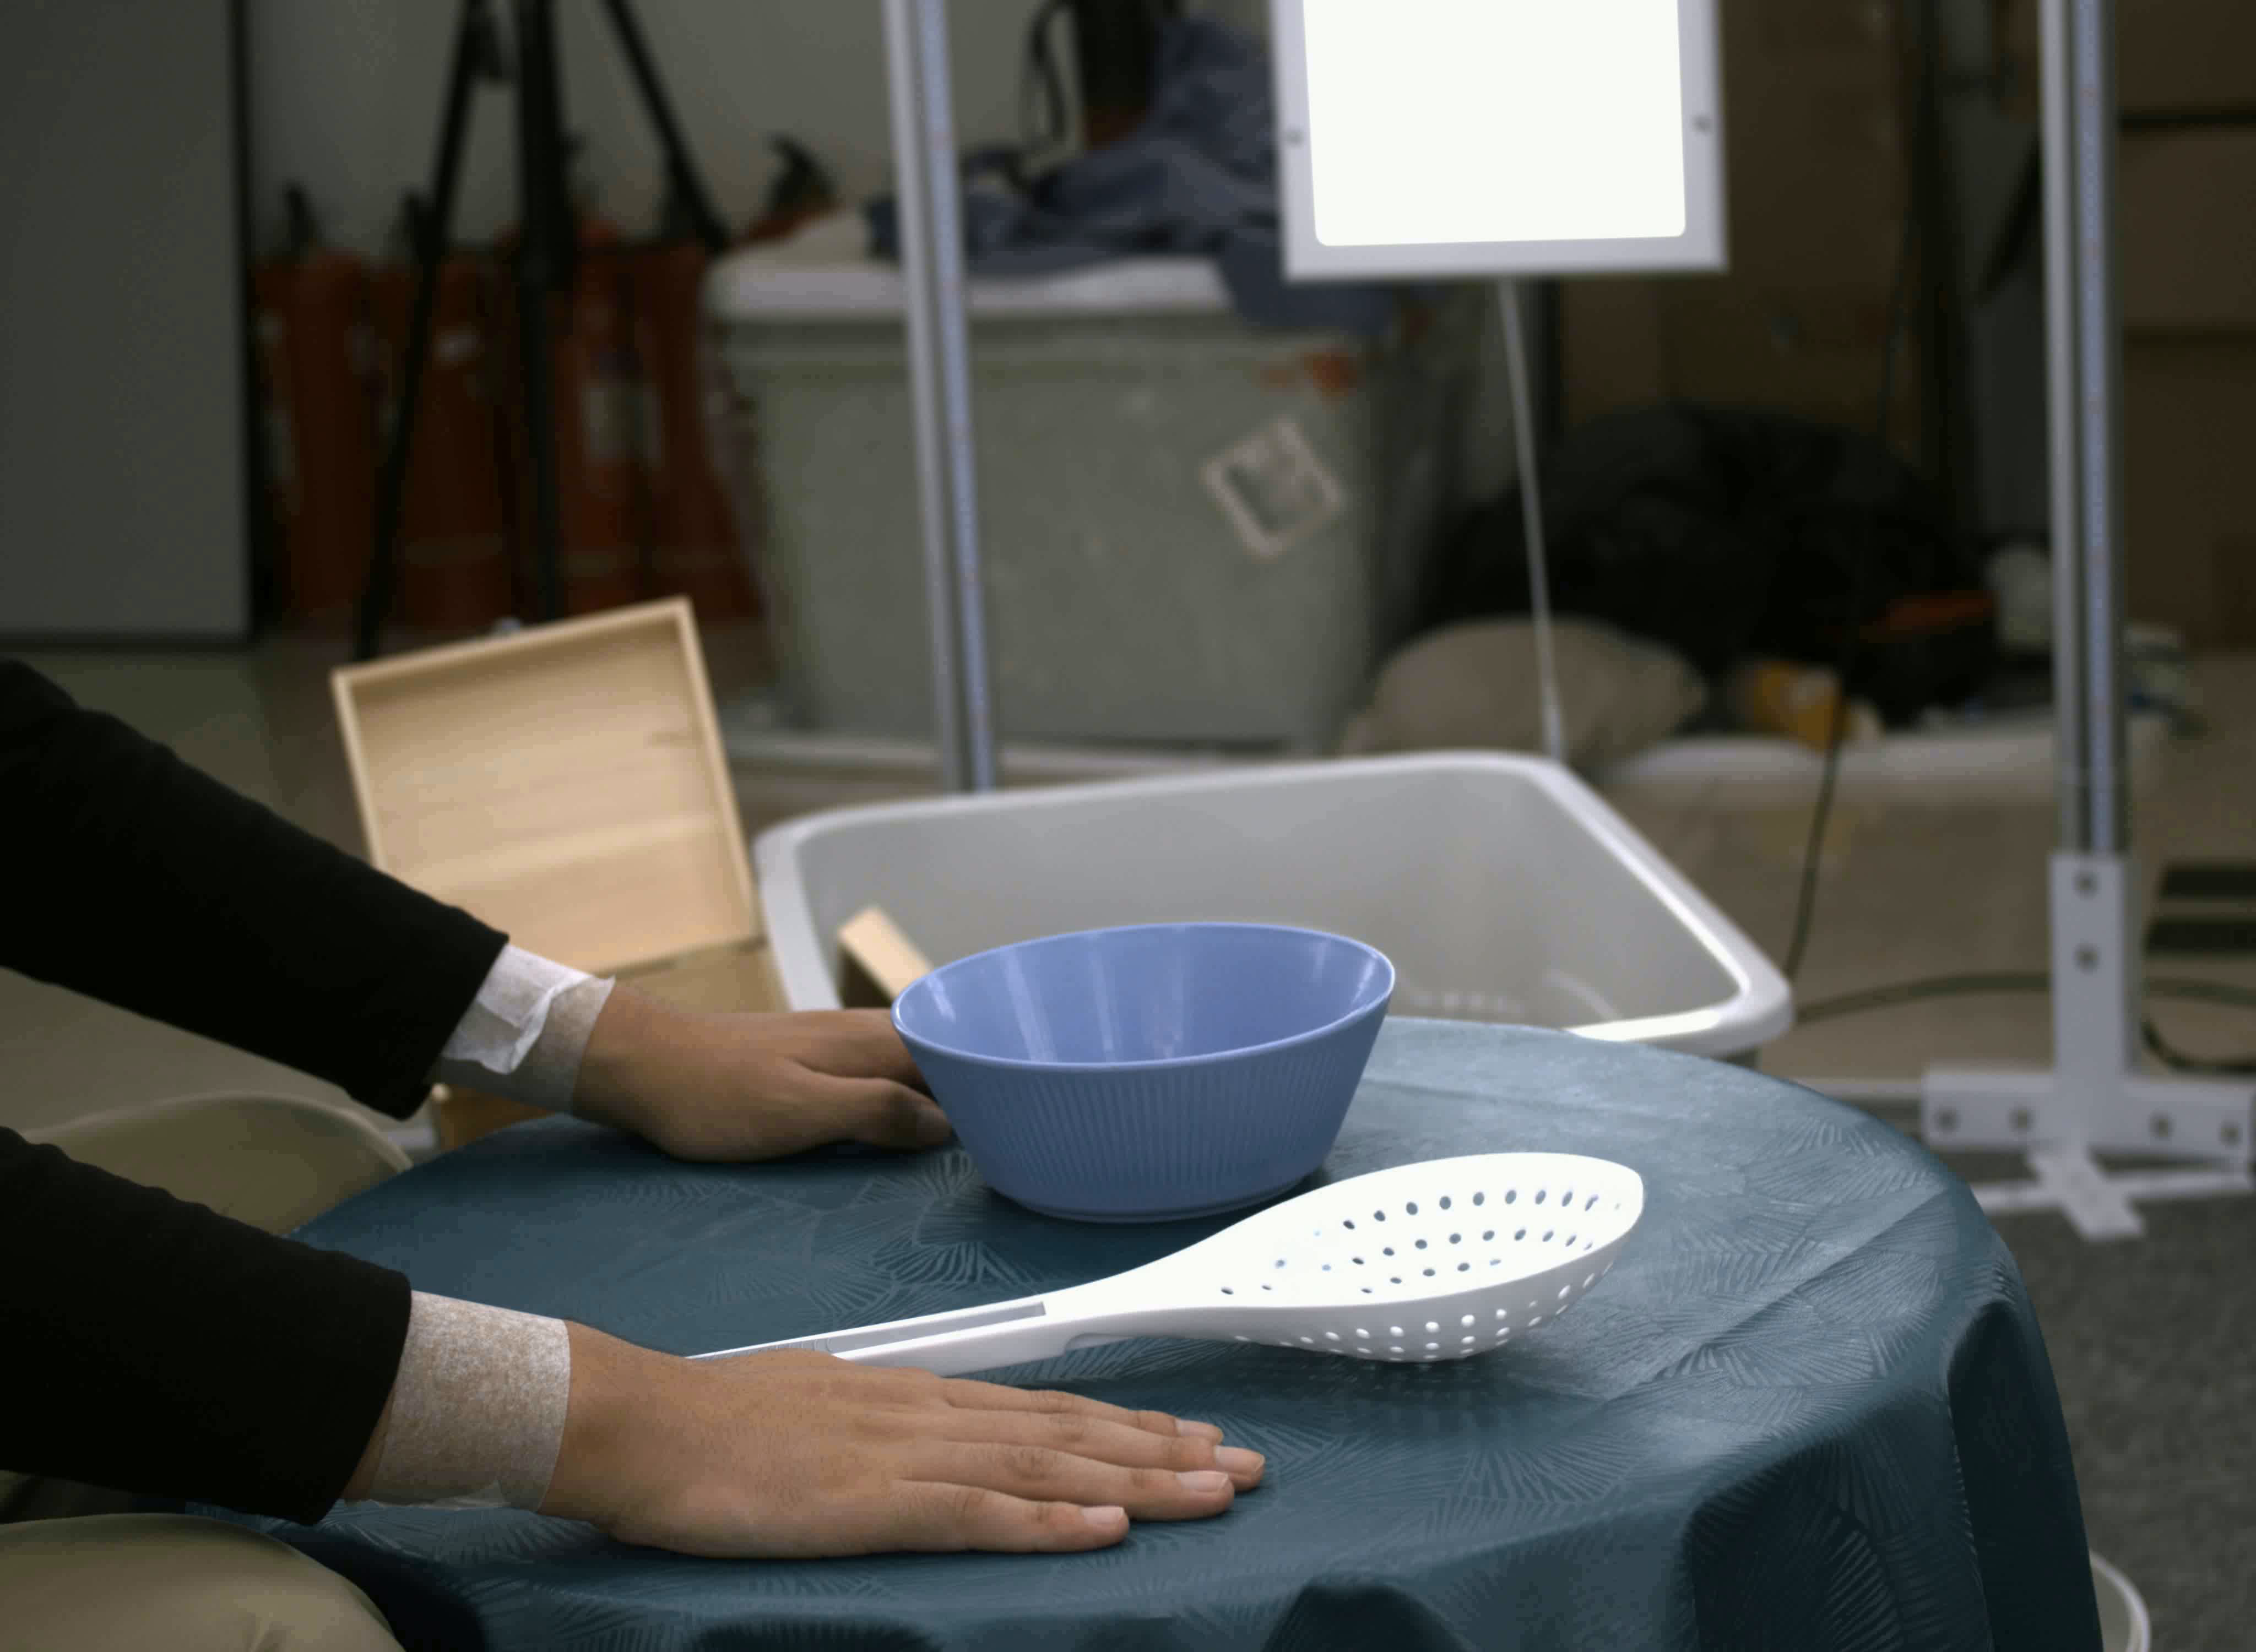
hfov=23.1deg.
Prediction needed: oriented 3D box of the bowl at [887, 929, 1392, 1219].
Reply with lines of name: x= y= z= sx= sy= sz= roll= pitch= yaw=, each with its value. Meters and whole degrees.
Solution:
bowl: x=0.007 y=0.088 z=1.906 sx=0.175 sy=0.070 sz=0.176 roll=-6 pitch=13 yaw=0

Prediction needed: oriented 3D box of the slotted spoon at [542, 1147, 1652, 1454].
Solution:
slotted spoon: x=-0.009 y=0.151 z=1.706 sx=0.348 sy=0.046 sz=0.136 roll=-7 pitch=14 yaw=-2
